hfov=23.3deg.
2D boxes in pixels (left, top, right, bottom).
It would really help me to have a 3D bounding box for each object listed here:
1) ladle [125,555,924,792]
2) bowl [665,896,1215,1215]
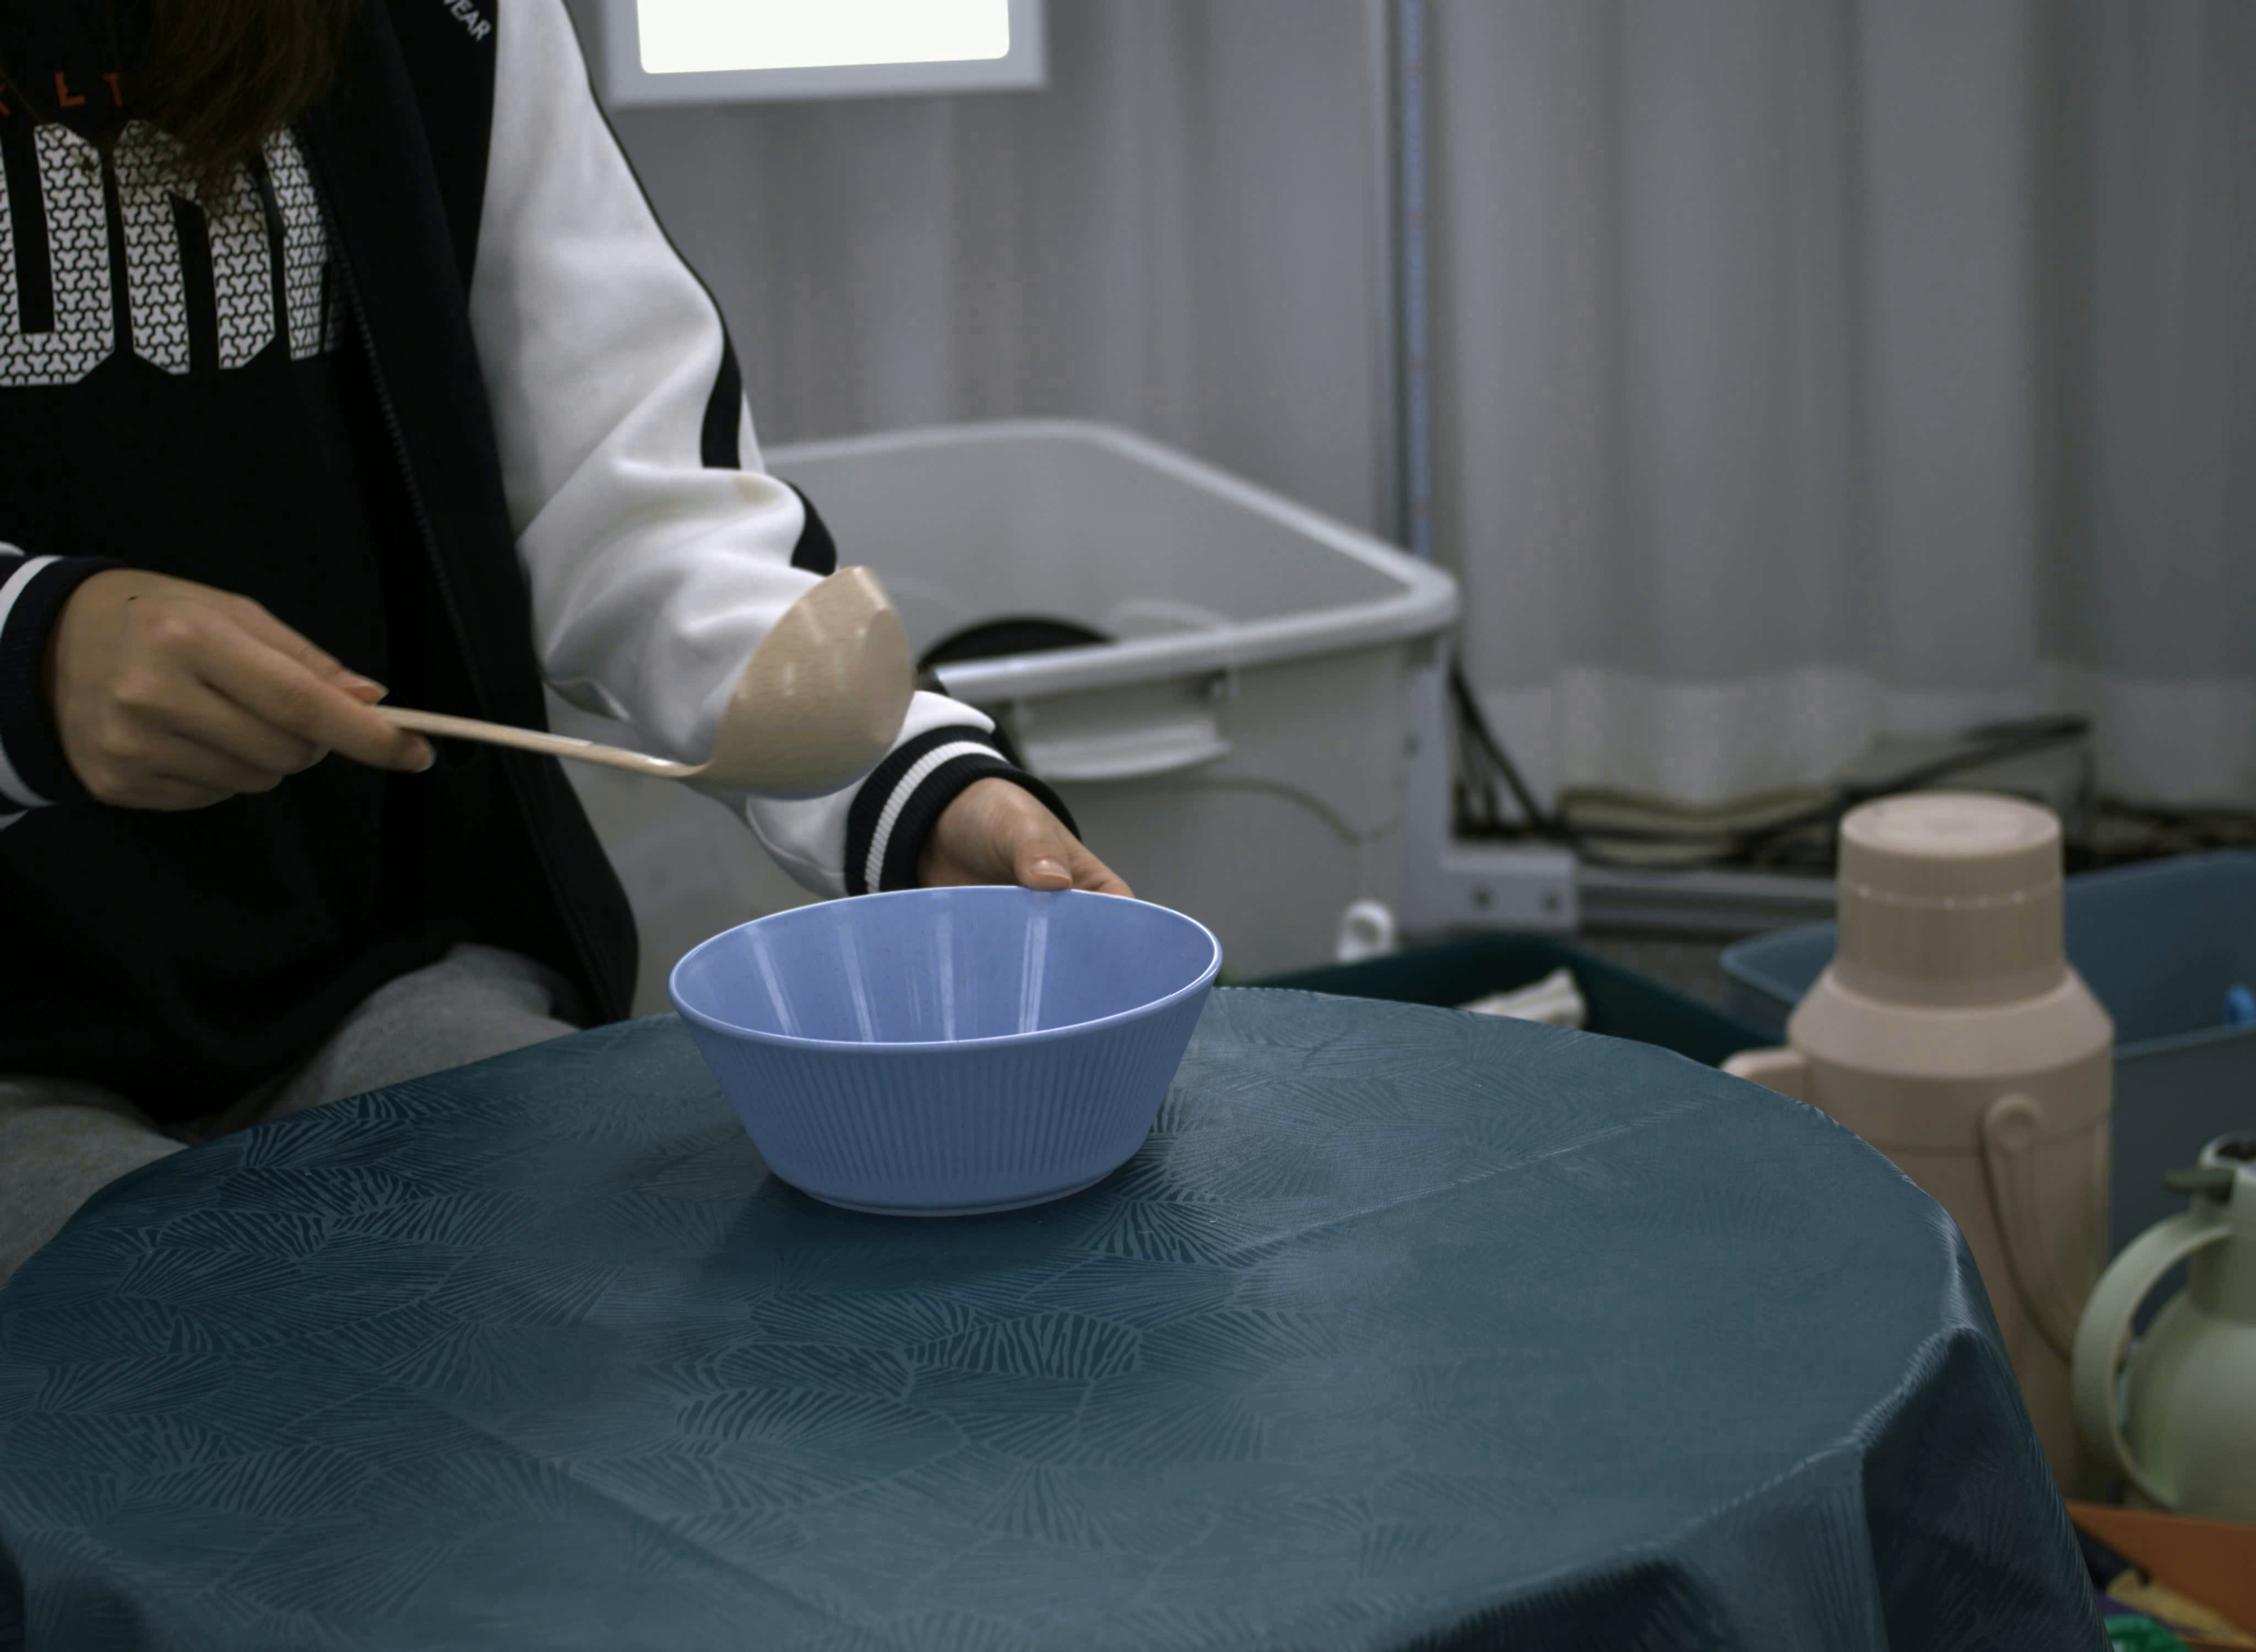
[{"bbox_3d":[-0.185,-0.056,1.658,0.254,0.073,0.072,6,-3,18],"label":"ladle"},{"bbox_3d":[-0.058,0.075,1.740,0.175,0.070,0.177,-2,14,0],"label":"bowl"}]
